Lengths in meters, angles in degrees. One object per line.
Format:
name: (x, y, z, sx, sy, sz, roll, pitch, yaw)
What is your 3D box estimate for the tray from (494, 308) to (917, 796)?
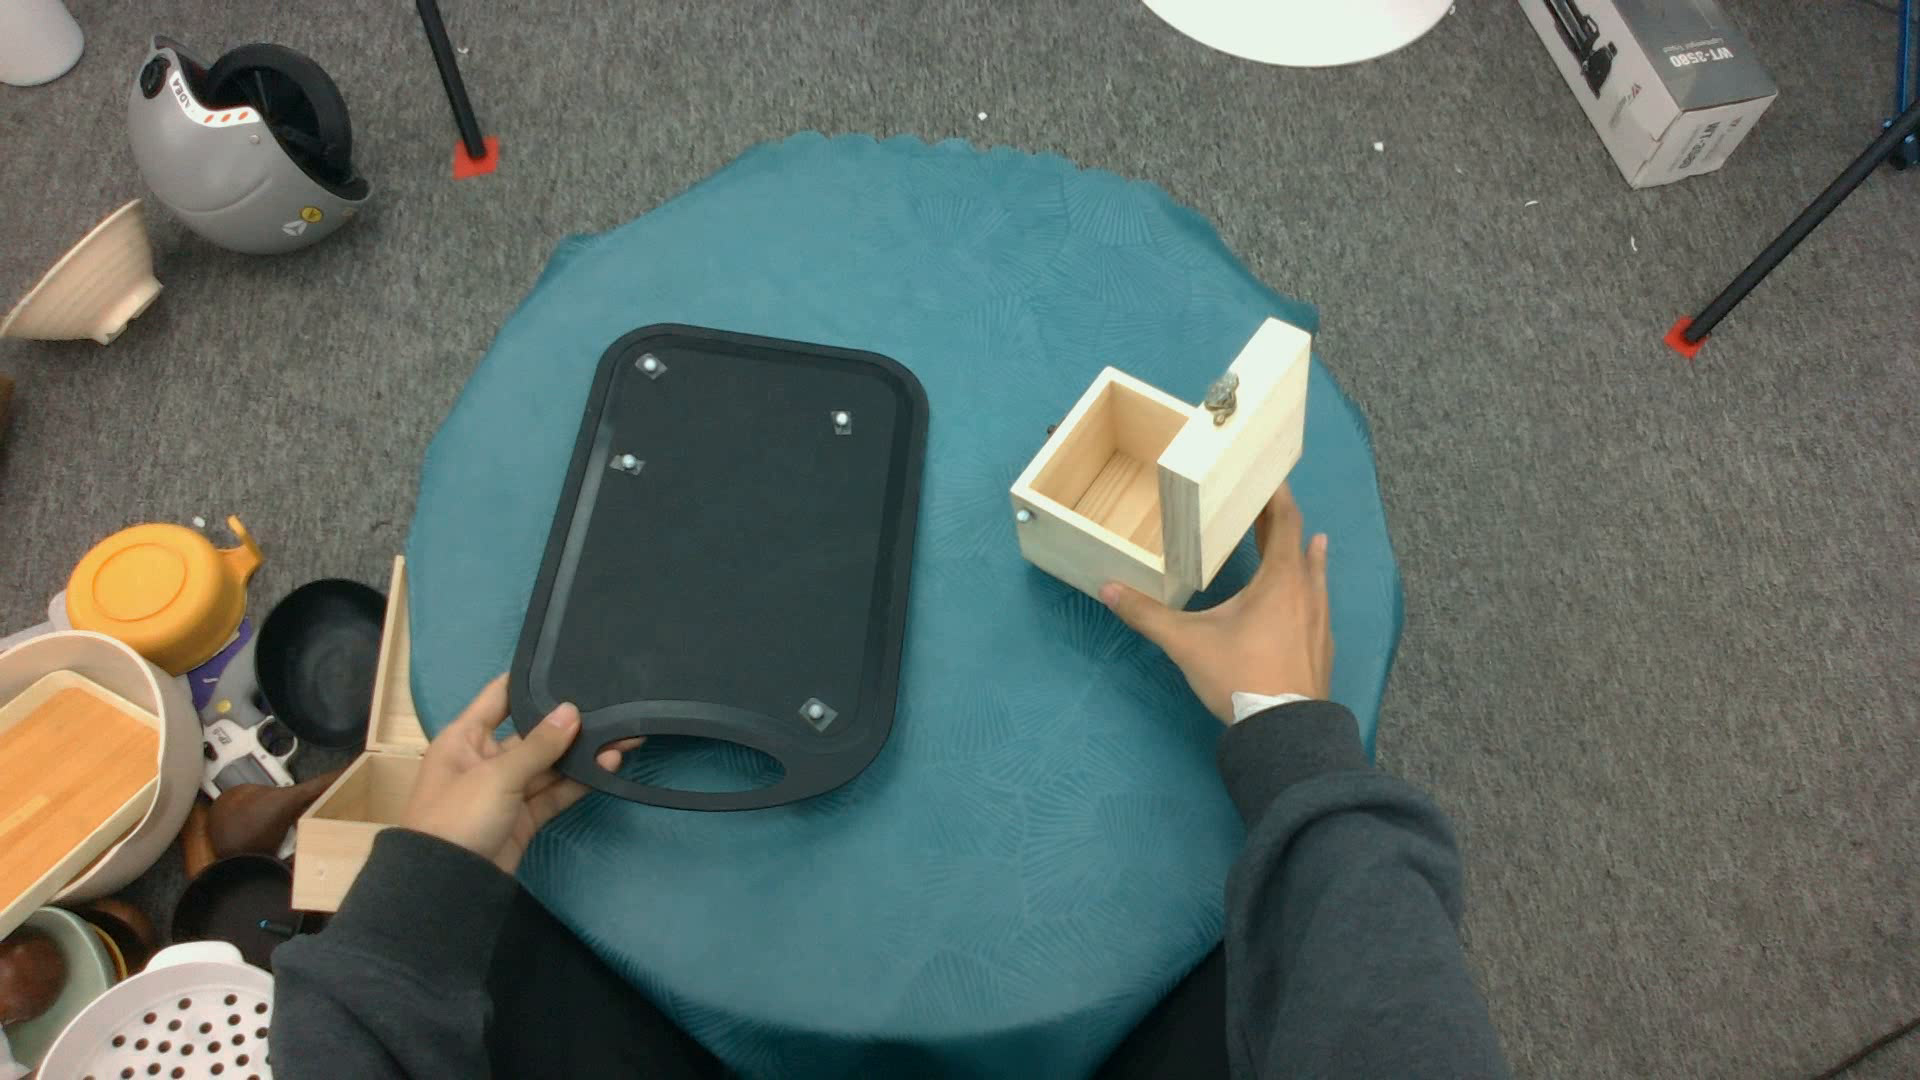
tray: (-0.139, -0.005, 0.803, 0.211, 0.010, 0.327, 8, 57, -4)

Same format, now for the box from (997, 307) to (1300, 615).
box: (0.096, -0.055, 0.749, 0.134, 0.184, 0.103, 29, 68, 20)
